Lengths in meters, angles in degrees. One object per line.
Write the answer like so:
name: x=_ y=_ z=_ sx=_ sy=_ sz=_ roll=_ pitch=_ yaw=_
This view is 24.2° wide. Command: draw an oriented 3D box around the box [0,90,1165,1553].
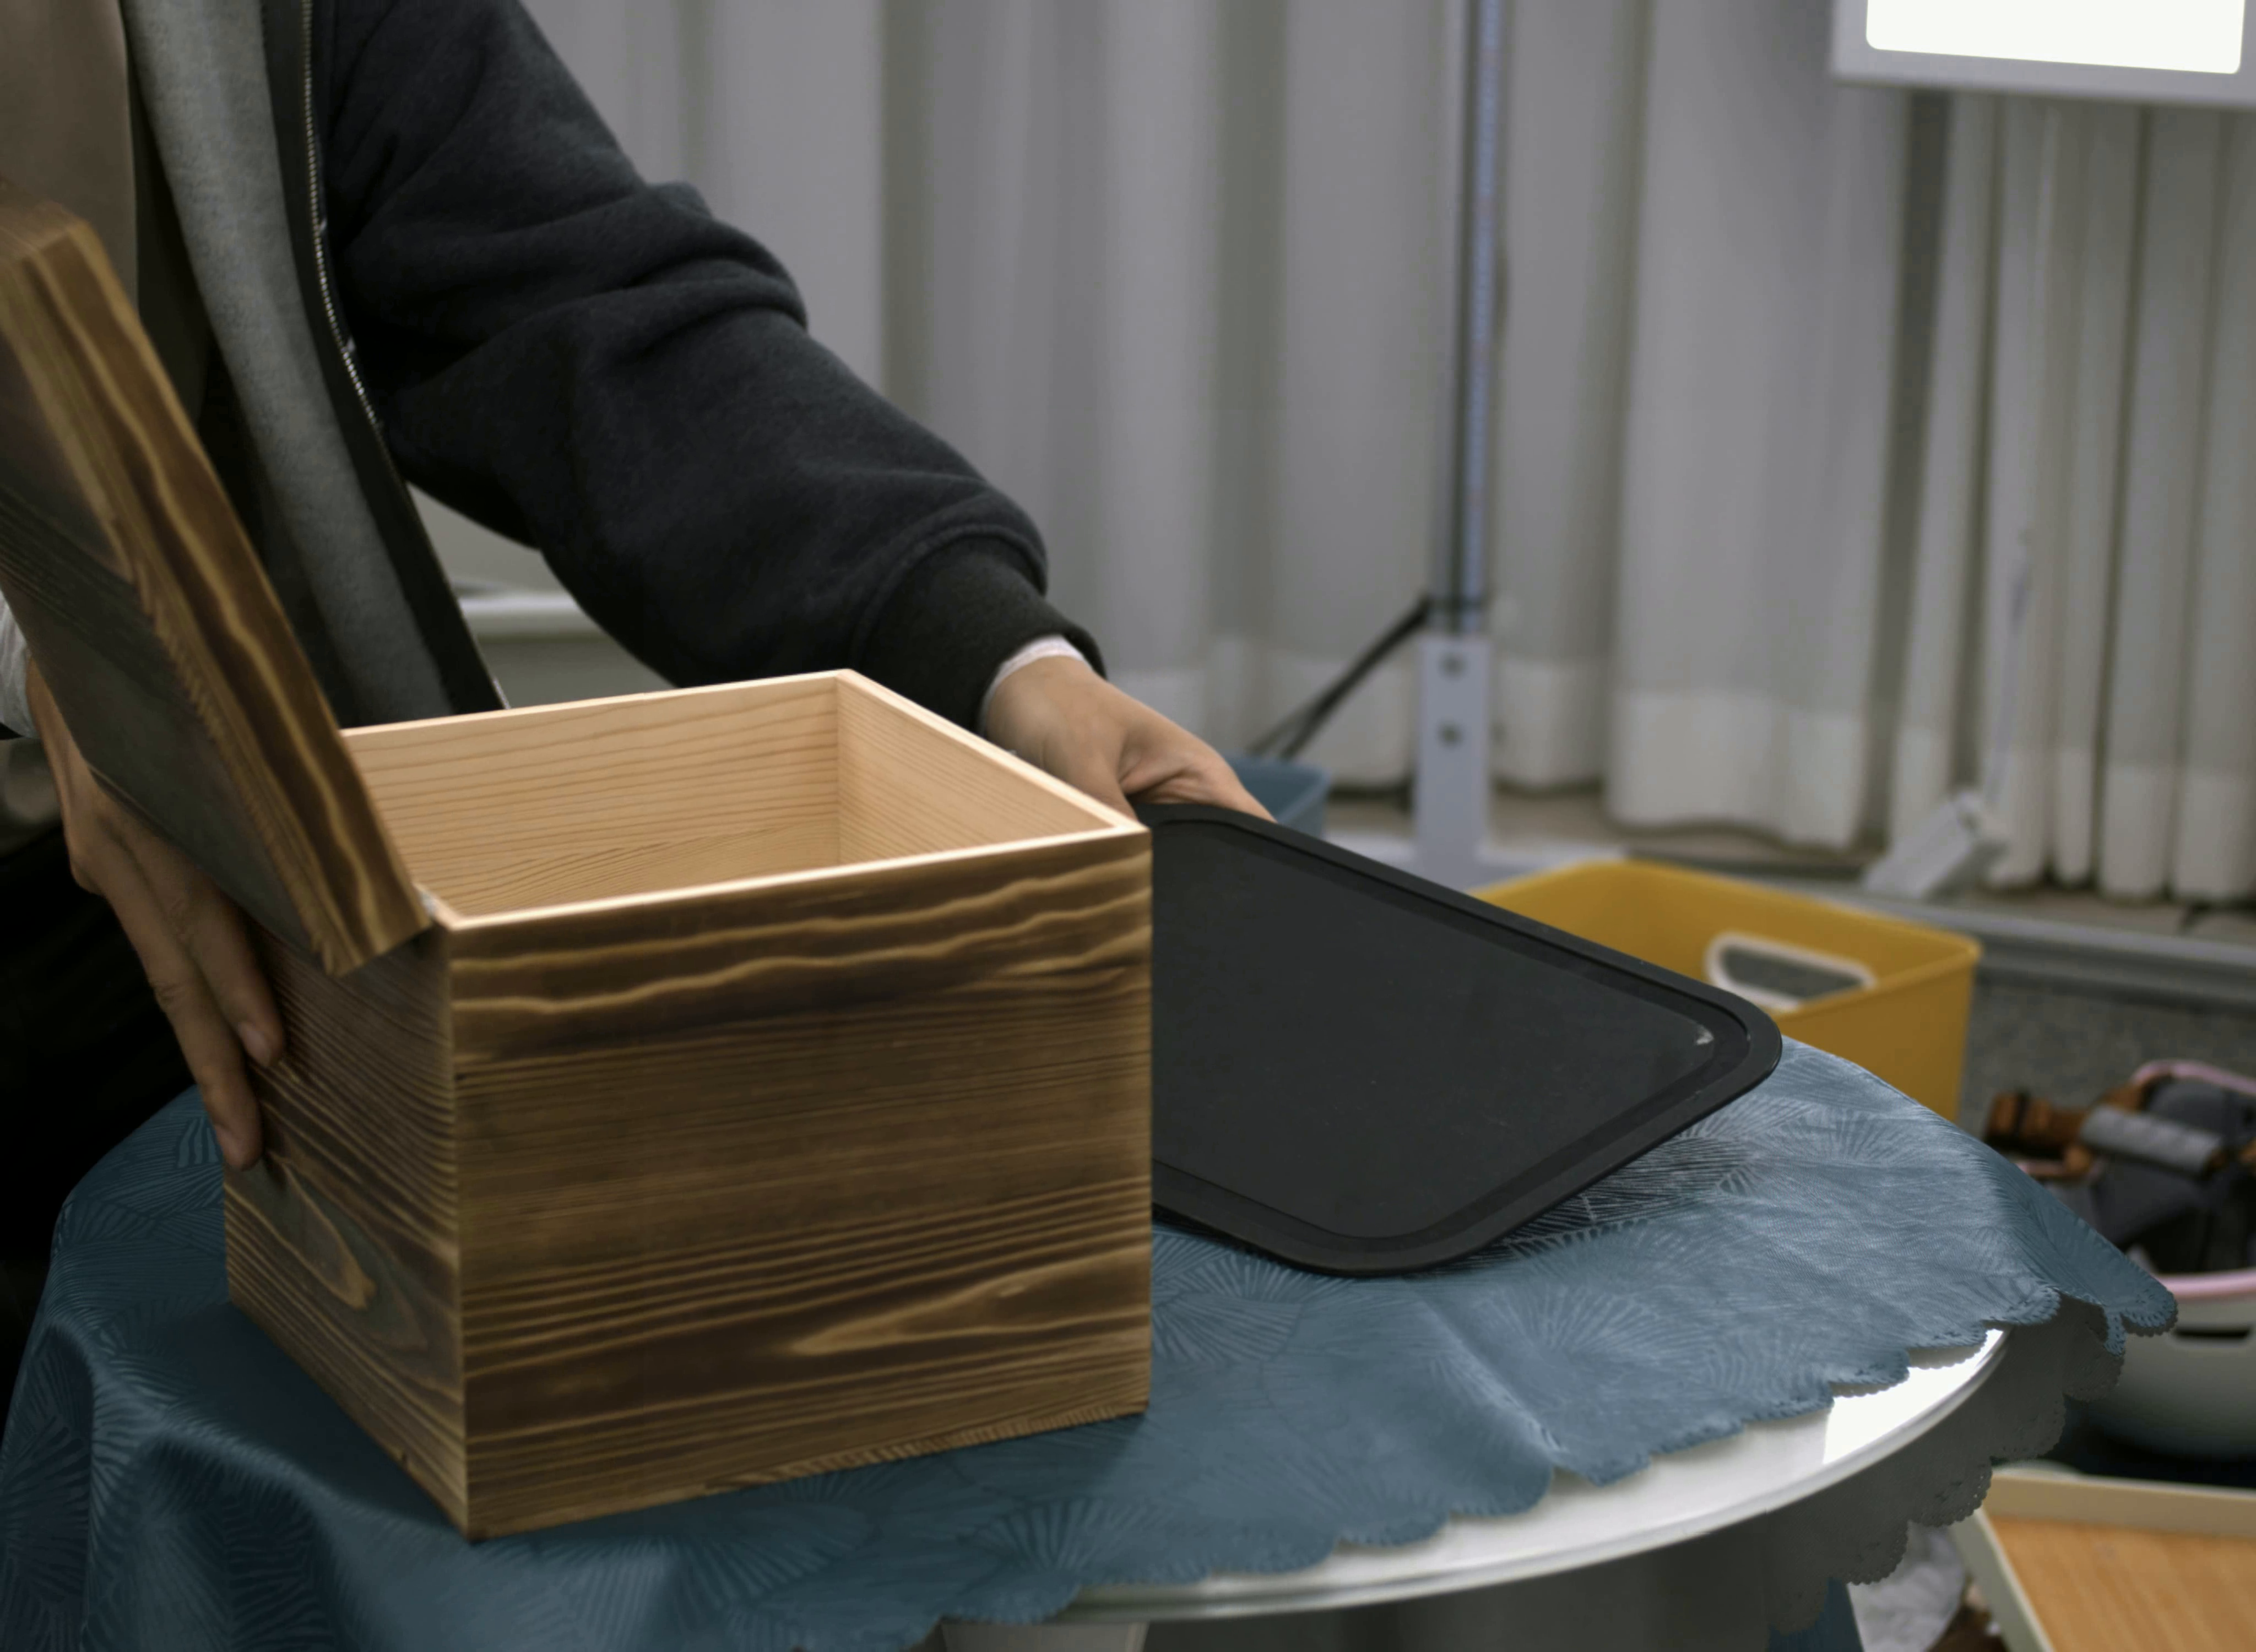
box: x=-0.171 y=-0.017 z=1.406 sx=0.323 sy=0.378 sz=0.206 roll=-8 pitch=19 yaw=-27

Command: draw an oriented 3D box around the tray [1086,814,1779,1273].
tray: x=0.036 y=0.061 z=1.698 sx=0.321 sy=0.010 sz=0.211 roll=20 pitch=35 yaw=41
